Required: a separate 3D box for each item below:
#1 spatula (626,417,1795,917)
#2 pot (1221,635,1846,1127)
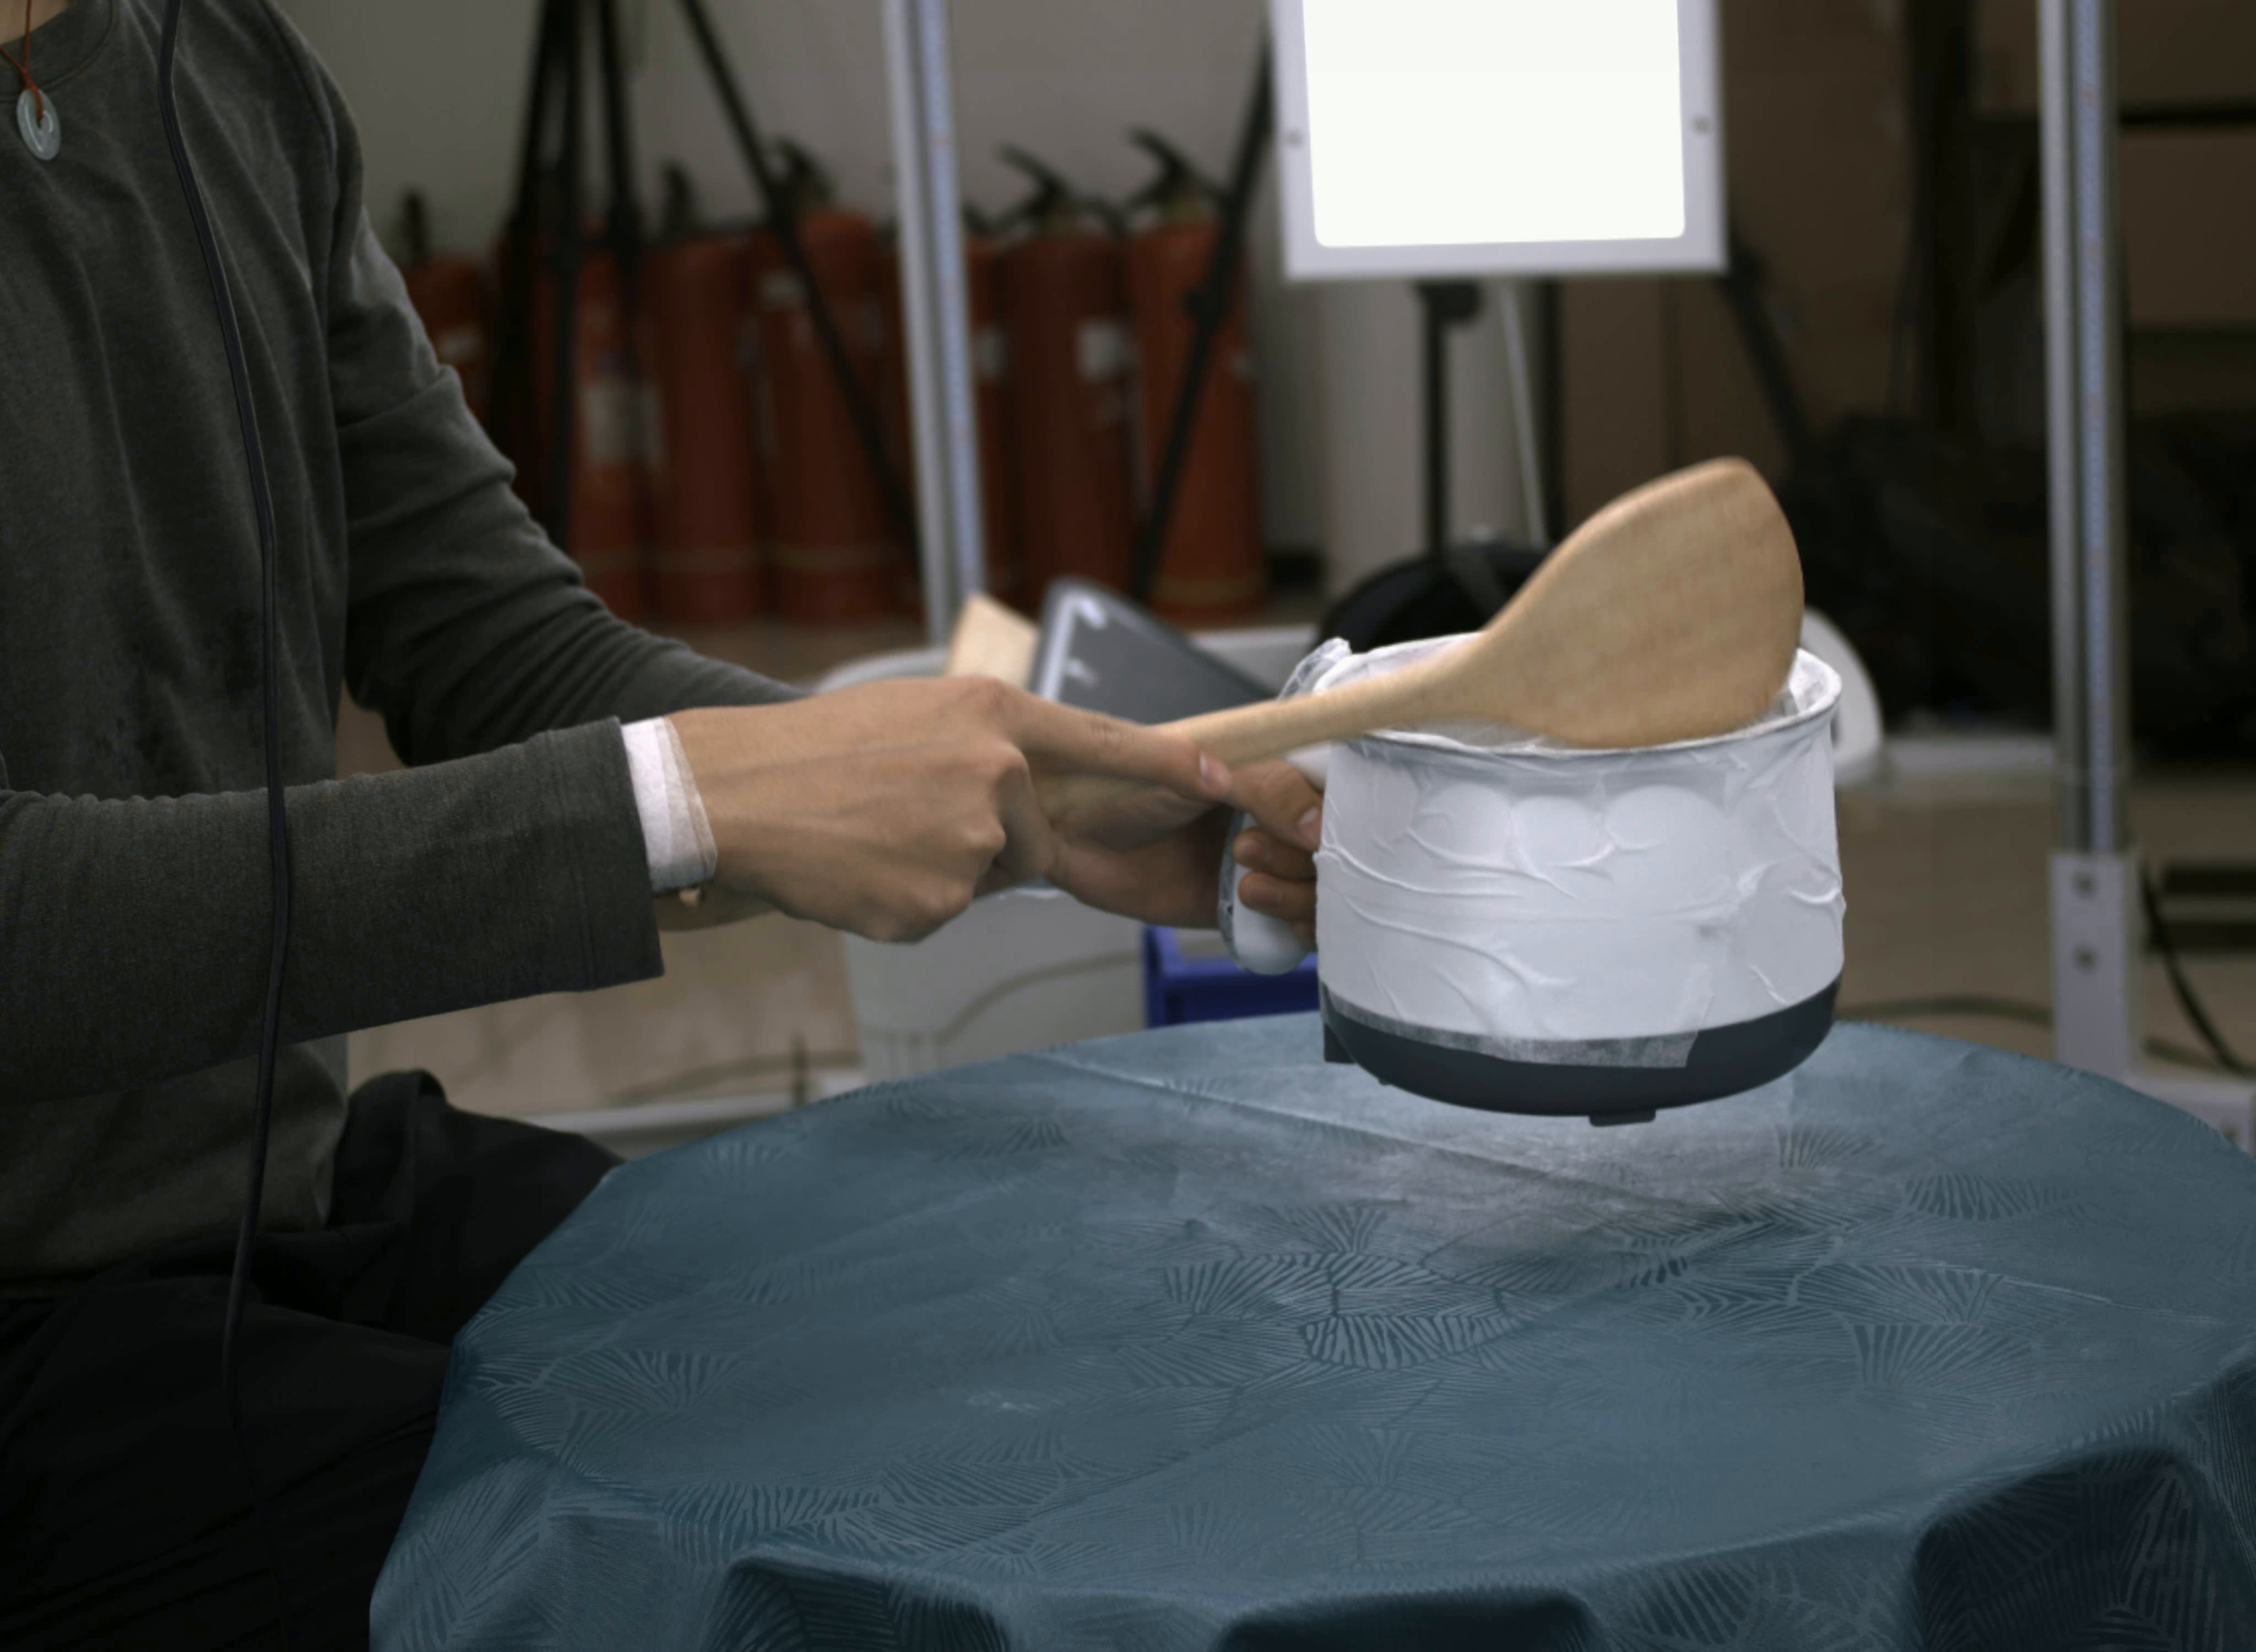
[{"bbox_3d":[0.028,-0.038,1.744,0.389,0.096,0.018,-16,28,-1],"label":"spatula"},{"bbox_3d":[0.130,0.011,1.856,0.238,0.137,0.174,9,19,37],"label":"pot"}]
